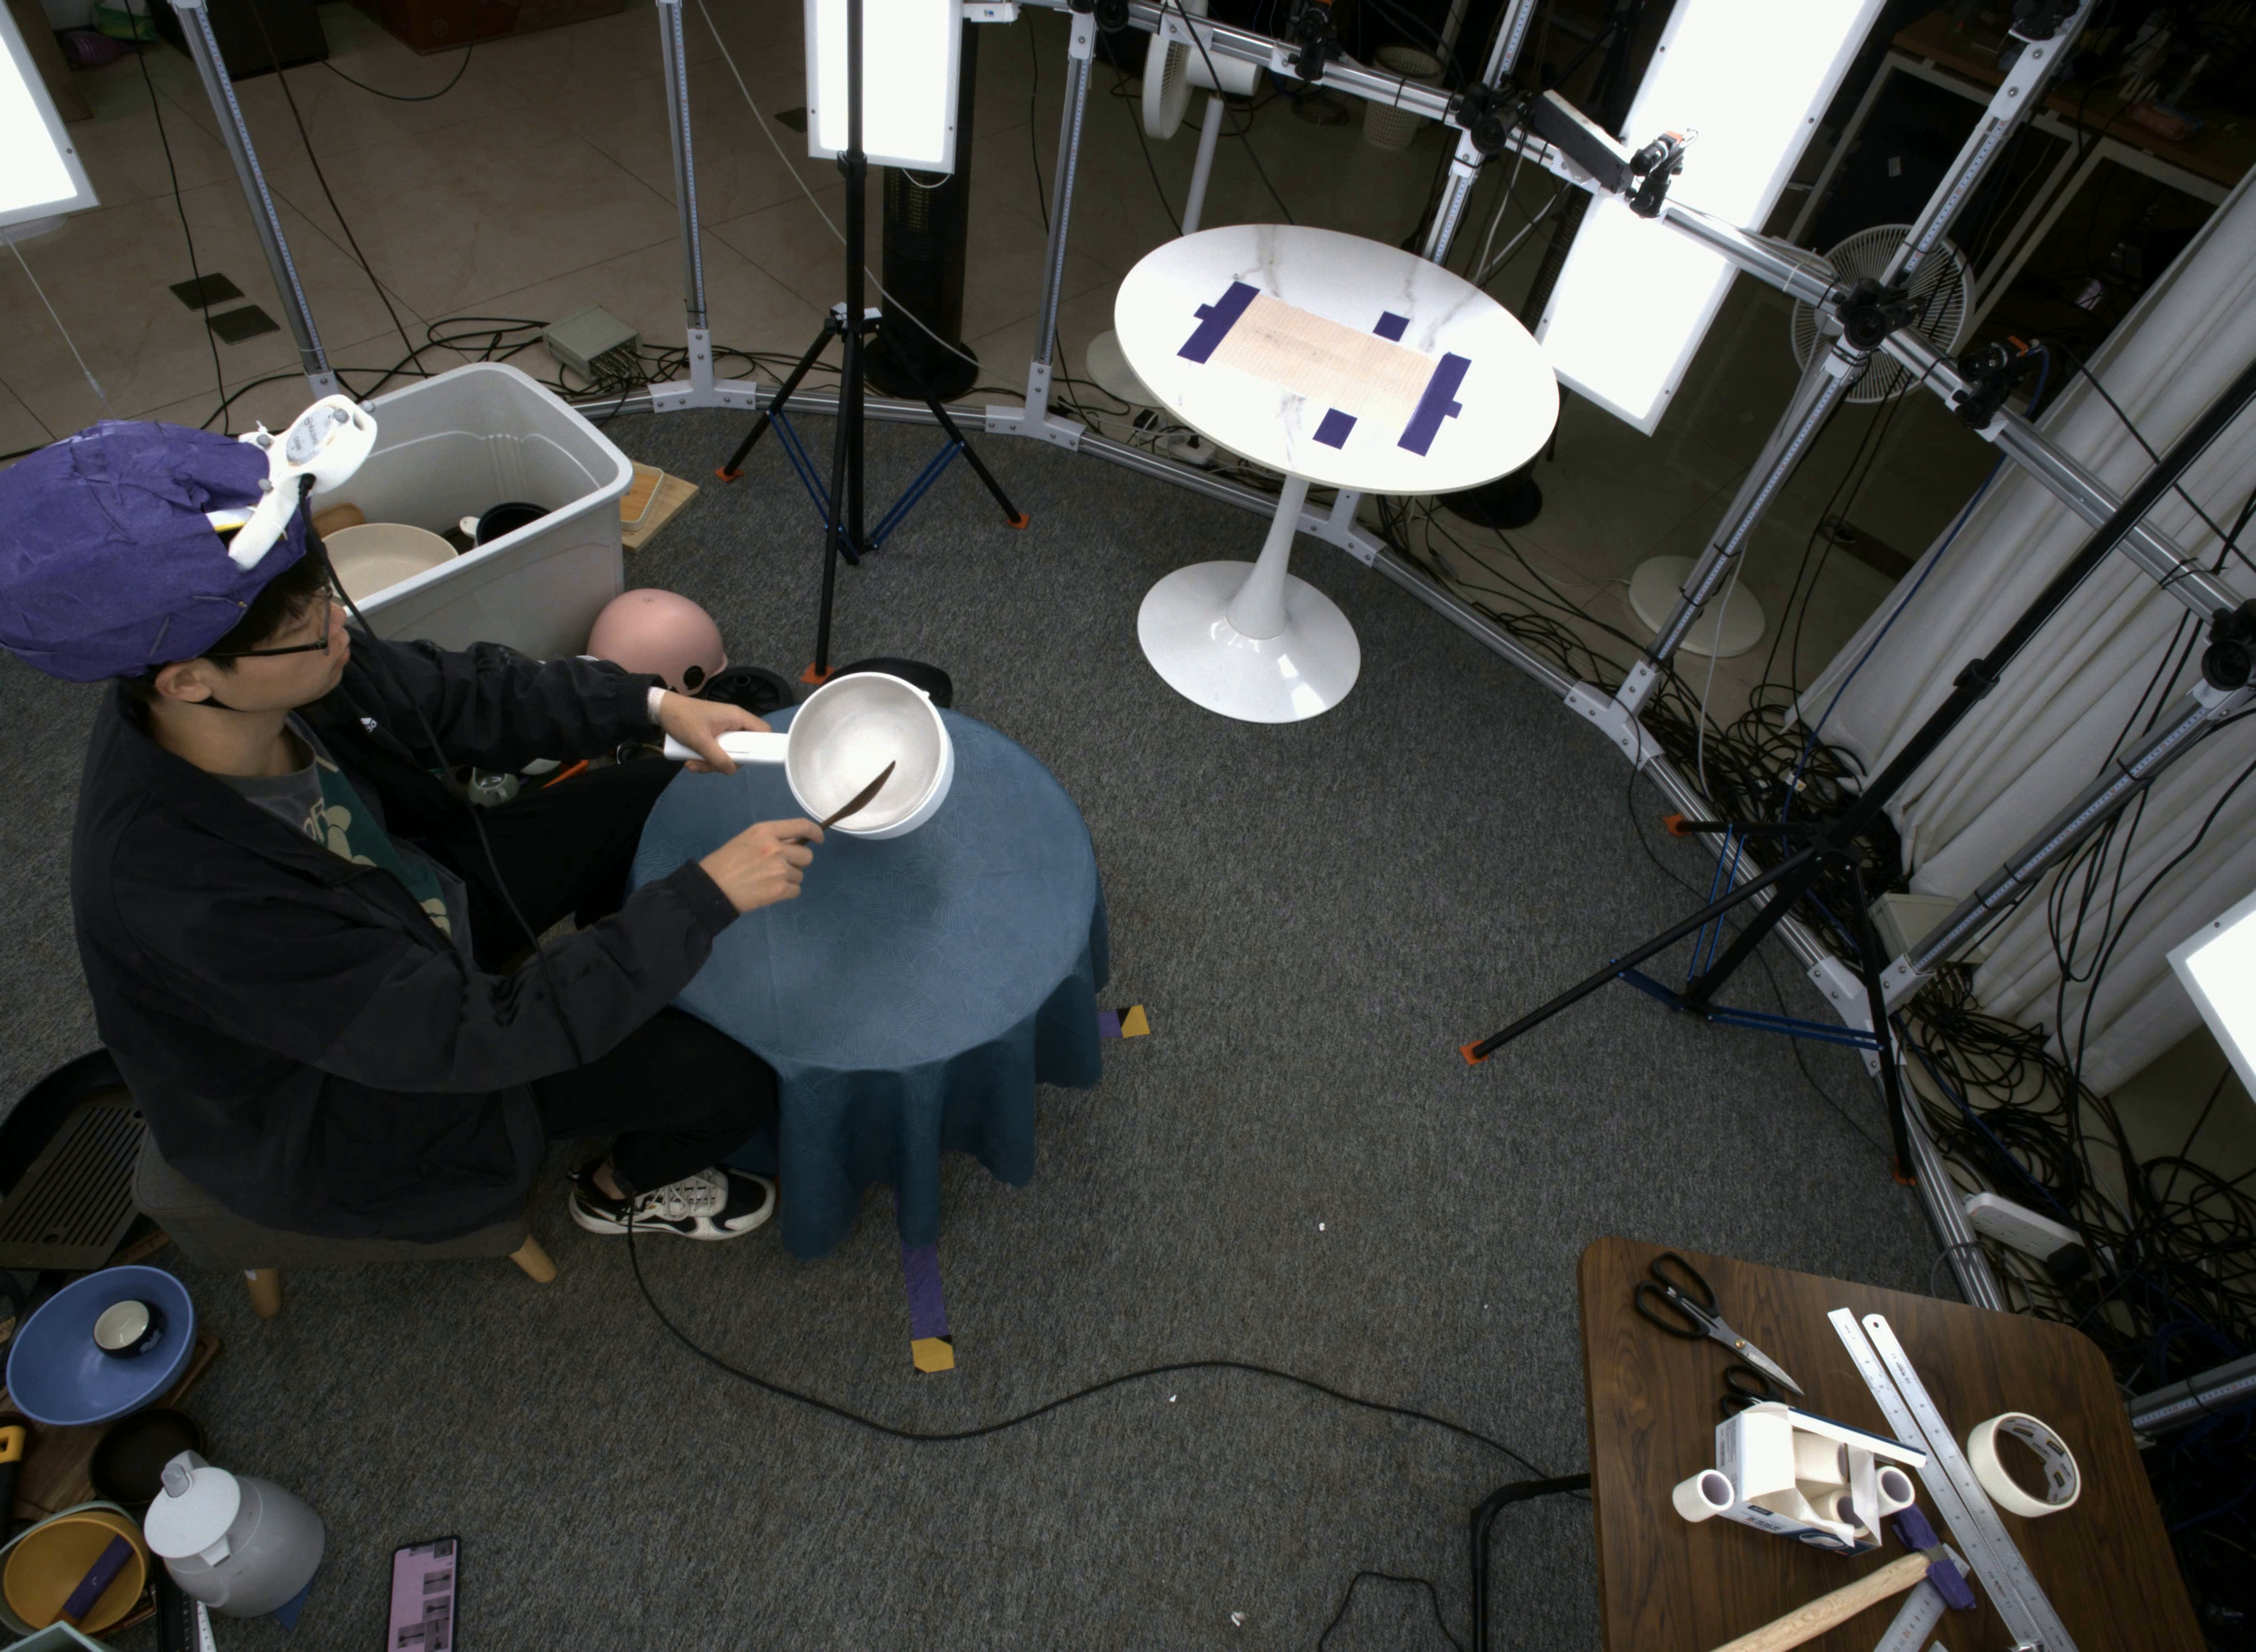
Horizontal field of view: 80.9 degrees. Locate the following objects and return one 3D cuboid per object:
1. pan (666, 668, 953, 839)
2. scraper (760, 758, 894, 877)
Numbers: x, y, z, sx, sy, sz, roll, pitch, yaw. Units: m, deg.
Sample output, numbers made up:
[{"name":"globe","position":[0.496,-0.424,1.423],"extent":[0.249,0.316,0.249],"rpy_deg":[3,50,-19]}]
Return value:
[{"name":"pan","position":[-0.394,-0.089,1.625],"extent":[0.350,0.103,0.202],"rpy_deg":[3,82,3]},{"name":"scraper","position":[-0.343,-0.008,1.485],"extent":[0.011,0.076,0.211],"rpy_deg":[44,51,1]}]
